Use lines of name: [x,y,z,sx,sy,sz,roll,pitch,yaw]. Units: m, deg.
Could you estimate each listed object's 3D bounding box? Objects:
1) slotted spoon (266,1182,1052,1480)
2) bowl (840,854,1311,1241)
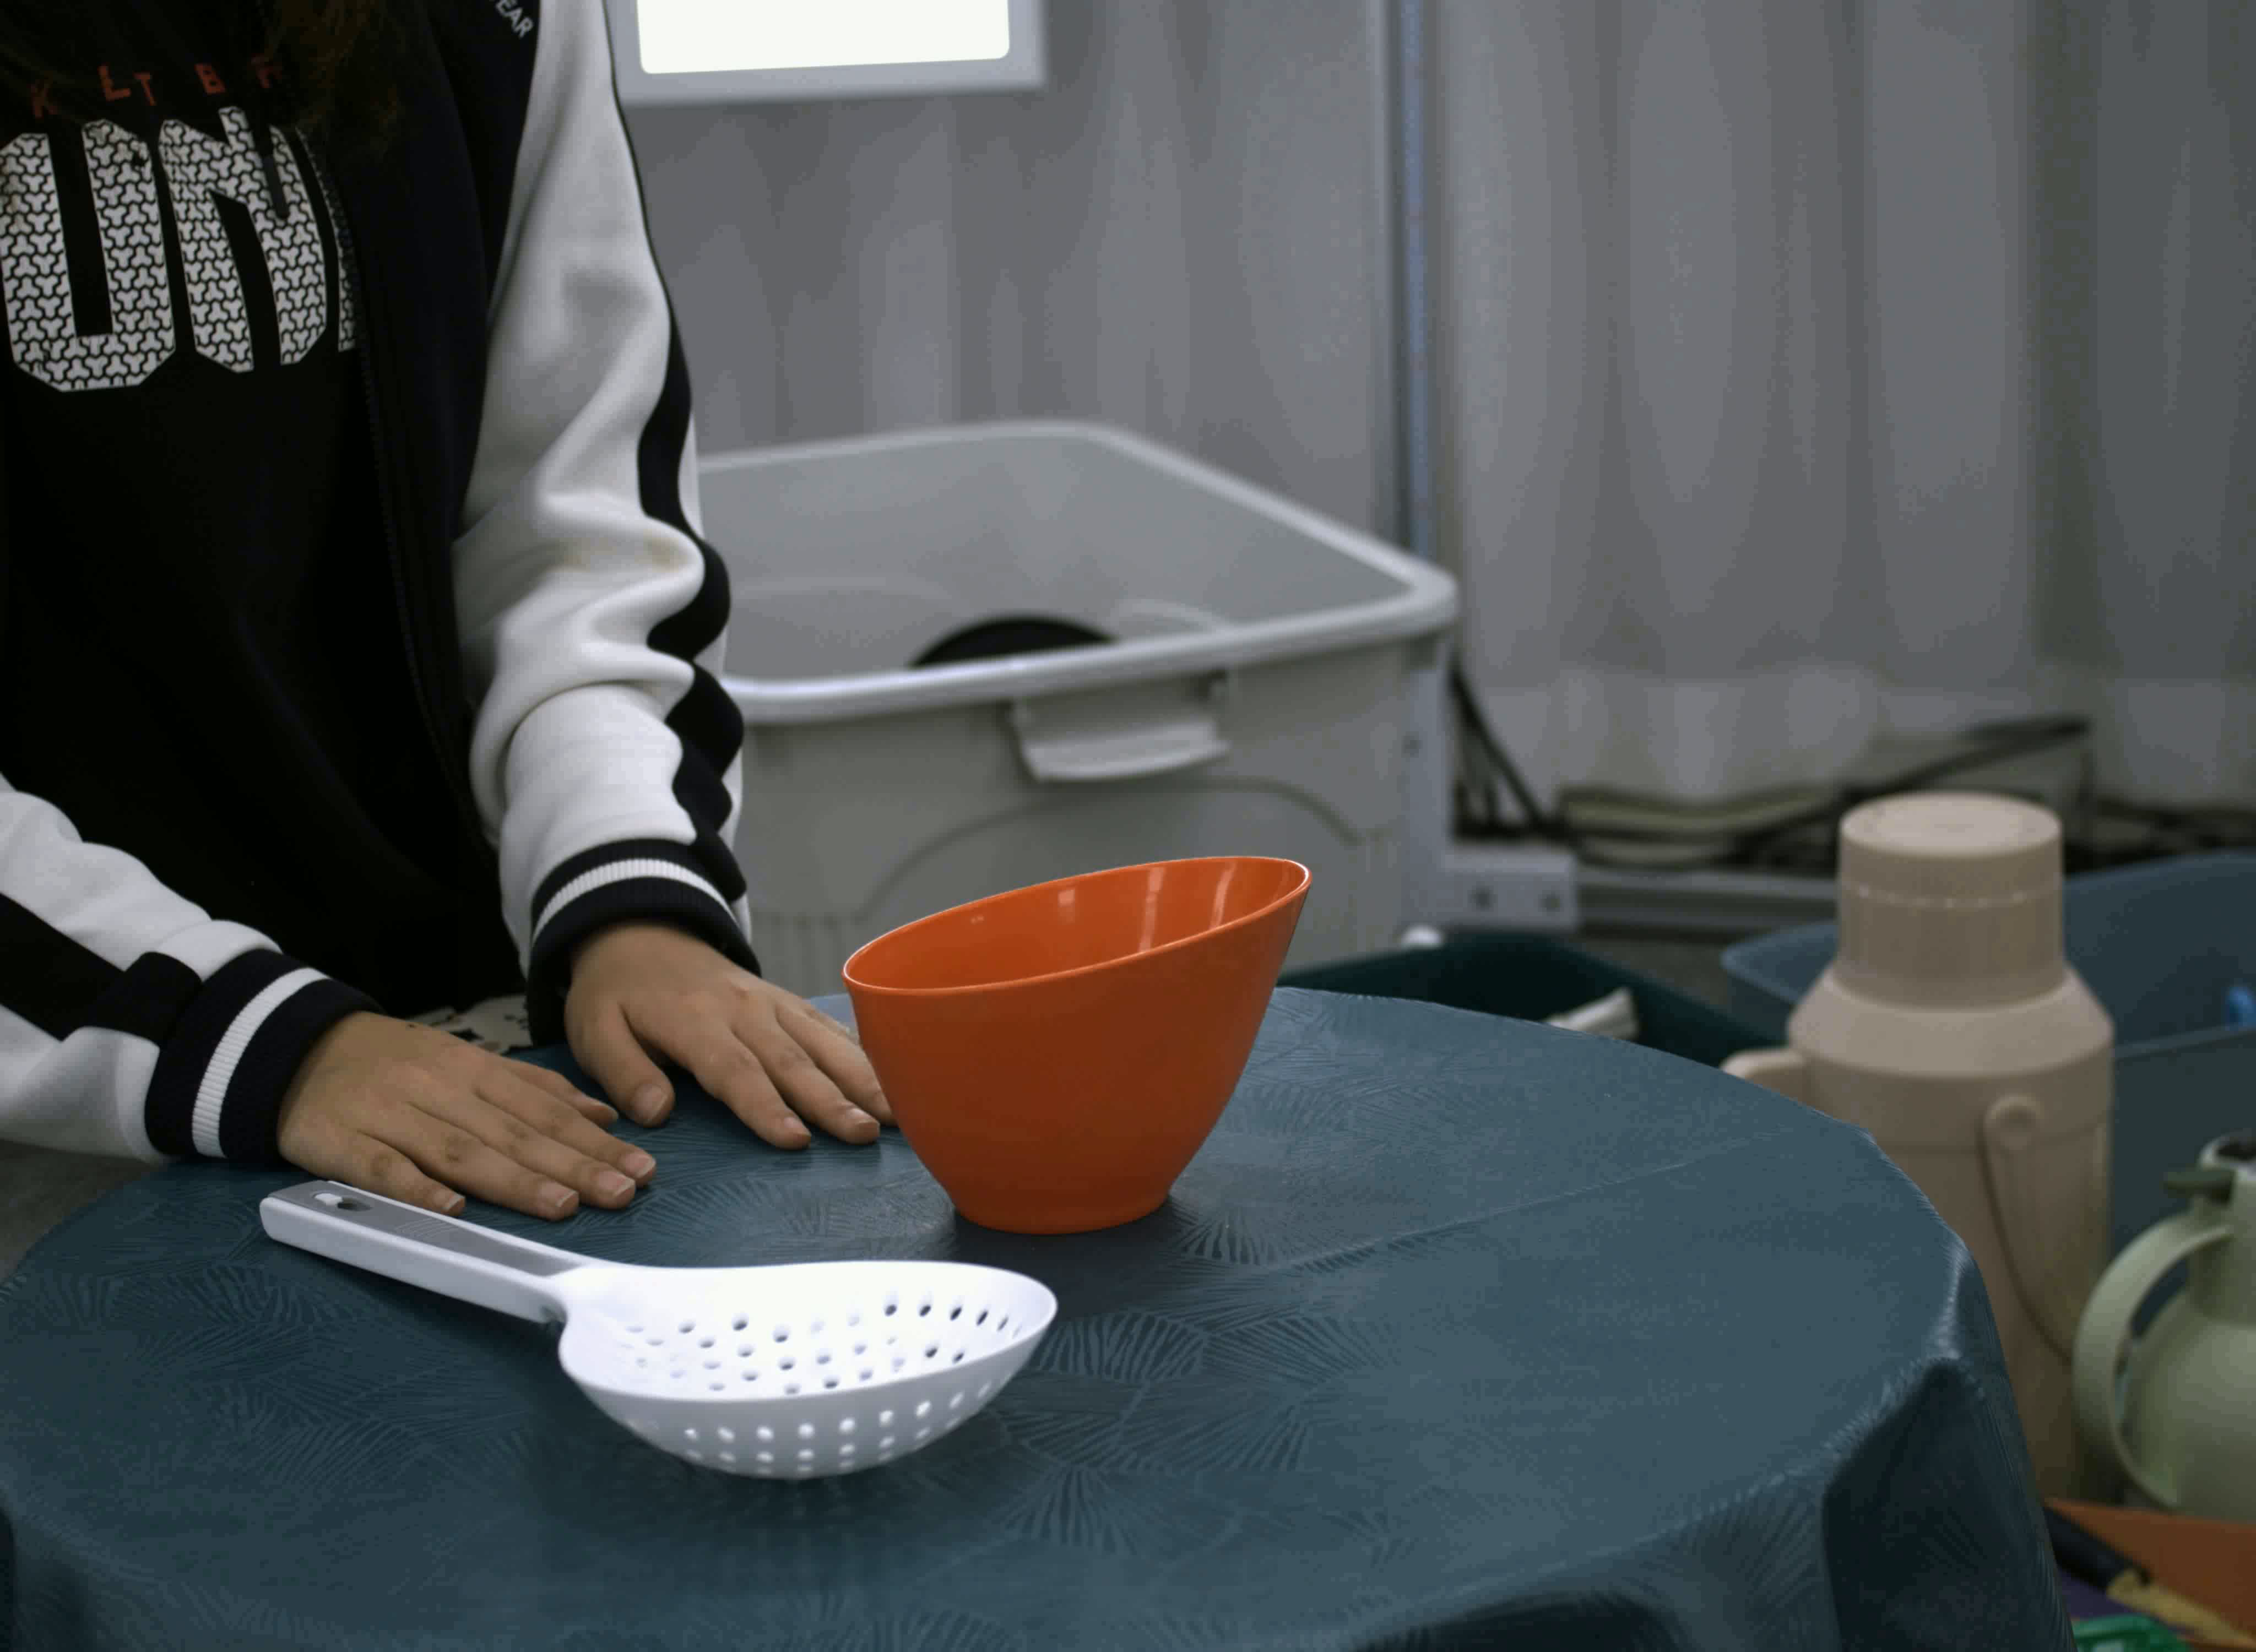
slotted spoon: [-0.154,0.136,1.578,0.135,0.045,0.352,-12,17,-36]
bowl: [-0.013,0.070,1.692,0.147,0.104,0.149,-5,16,1]
